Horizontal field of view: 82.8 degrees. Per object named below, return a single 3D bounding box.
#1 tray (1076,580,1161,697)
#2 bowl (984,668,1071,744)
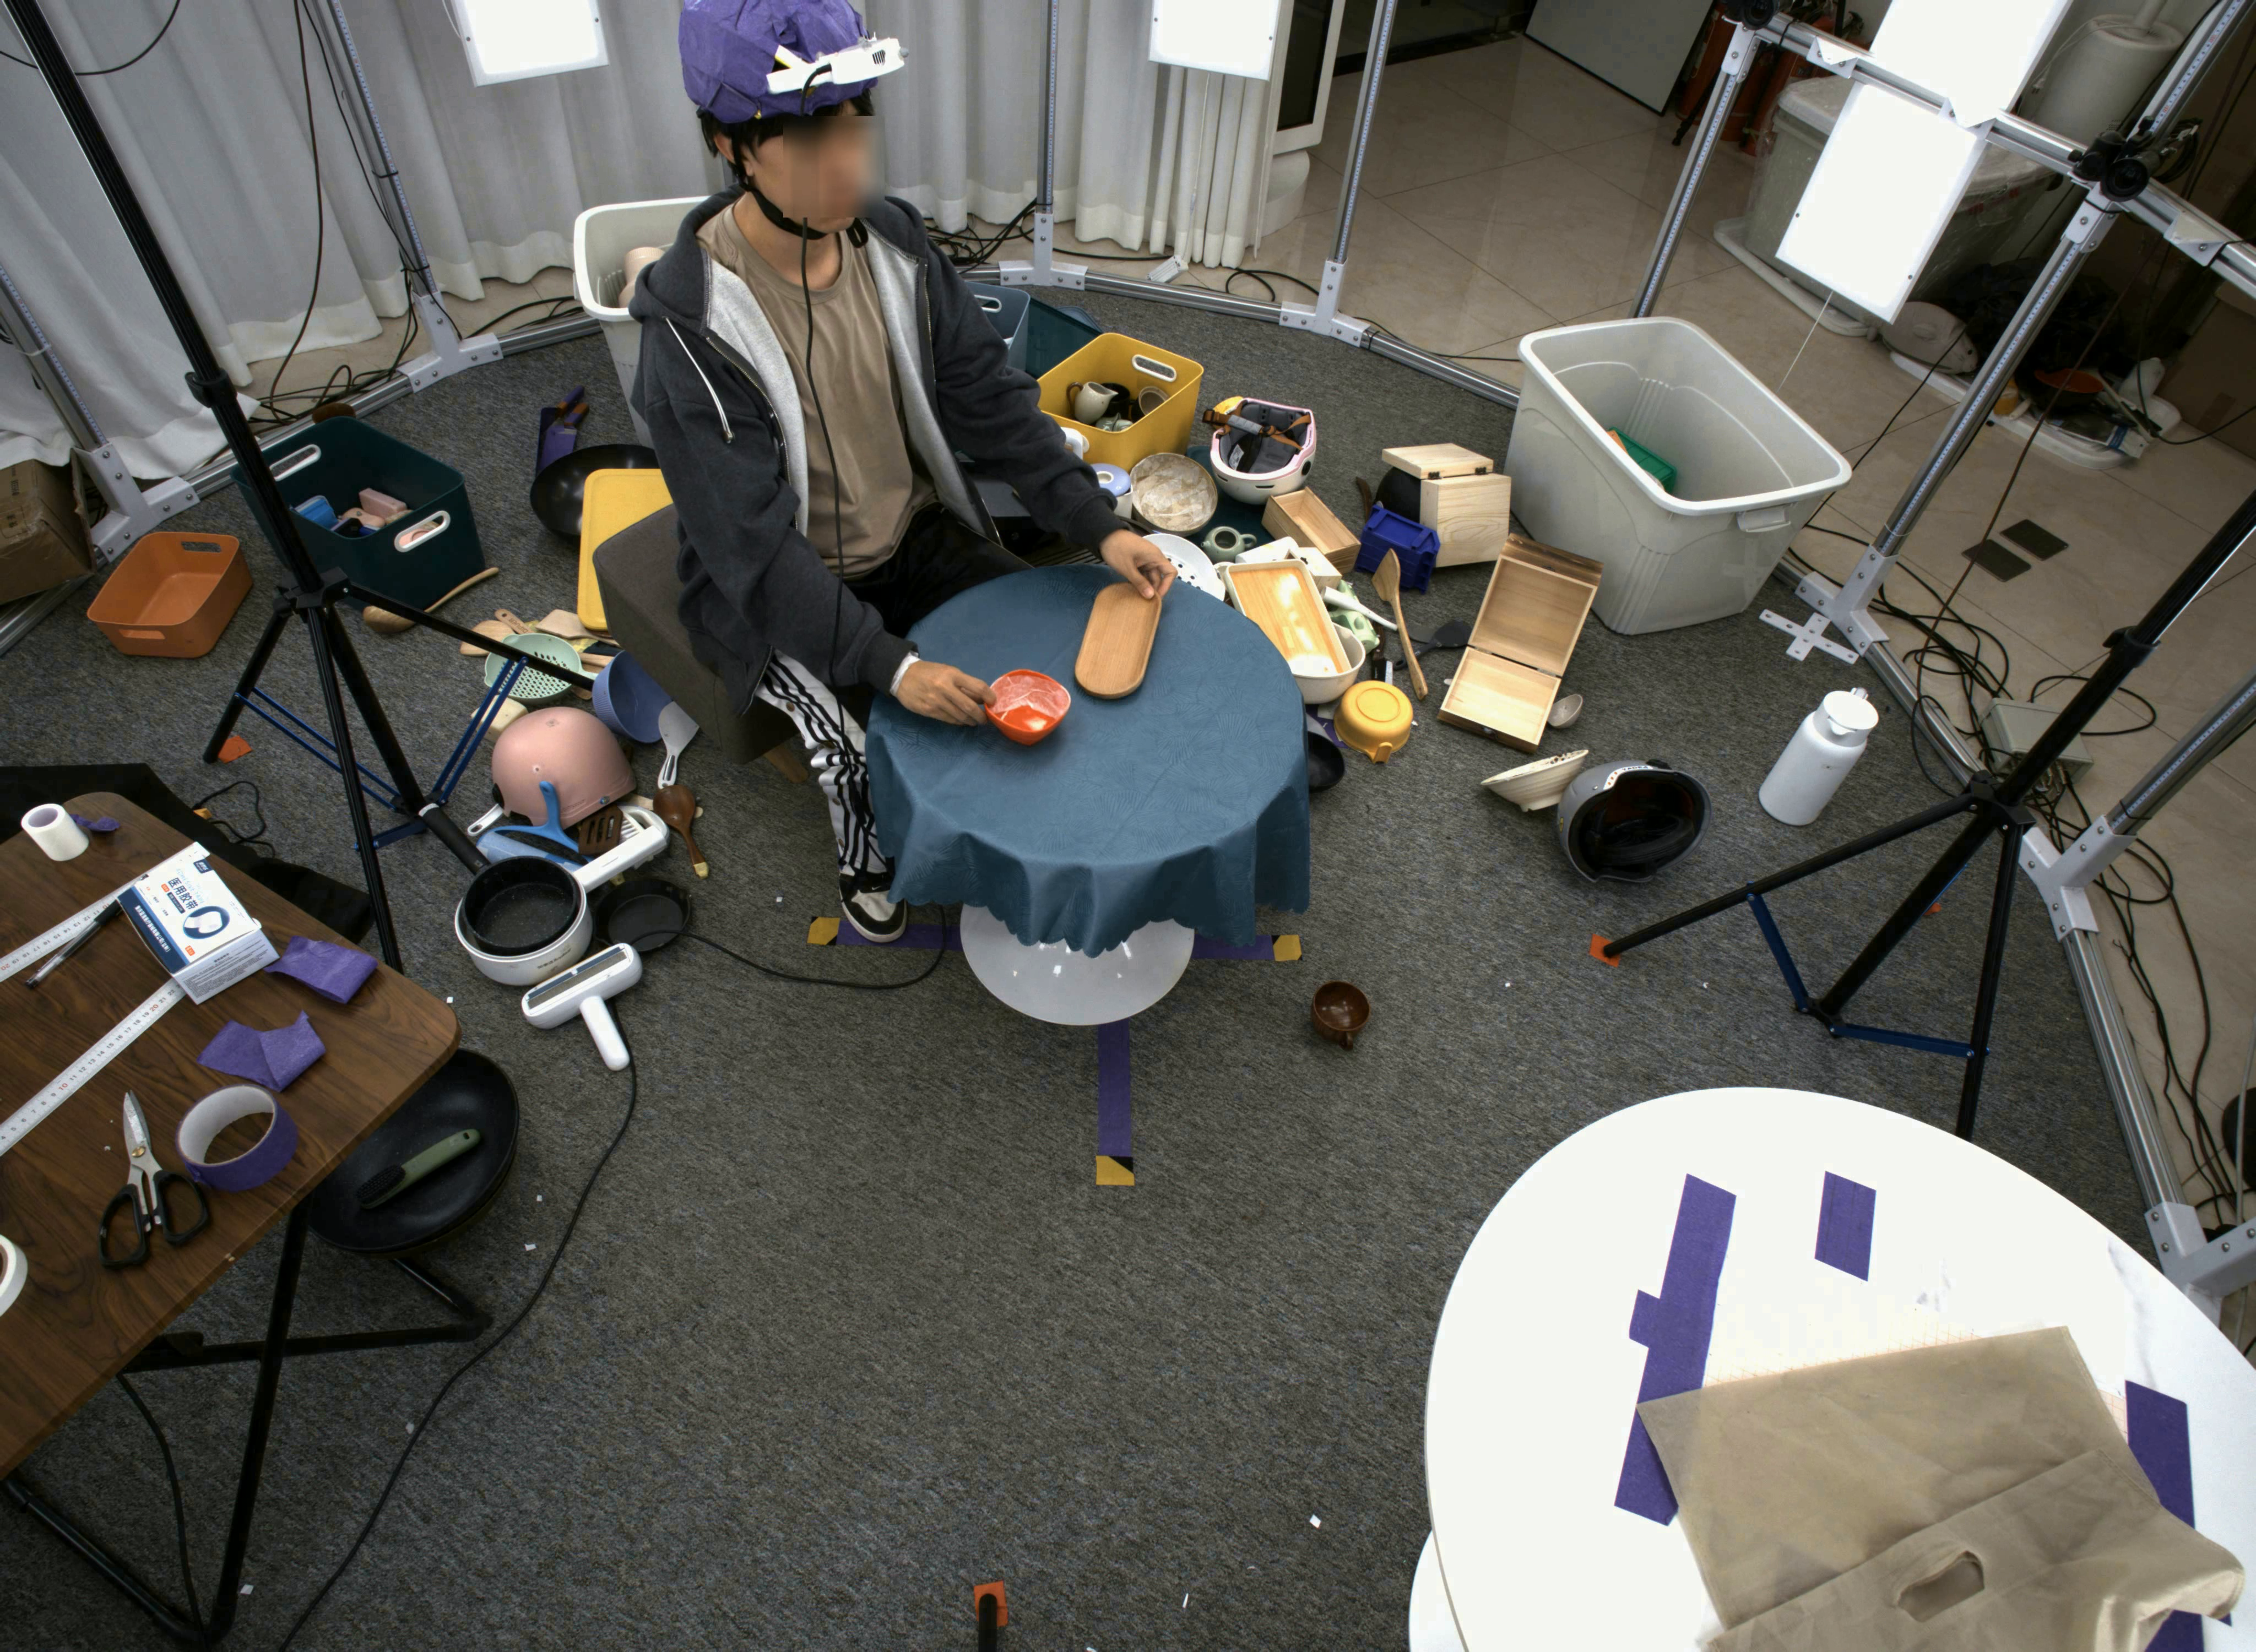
[{"bbox_3d":[-0.012,-0.277,1.884,0.102,0.020,0.236,6,51,9],"label":"tray"},{"bbox_3d":[-0.138,-0.158,1.756,0.119,0.050,0.122,4,51,-5],"label":"bowl"}]
